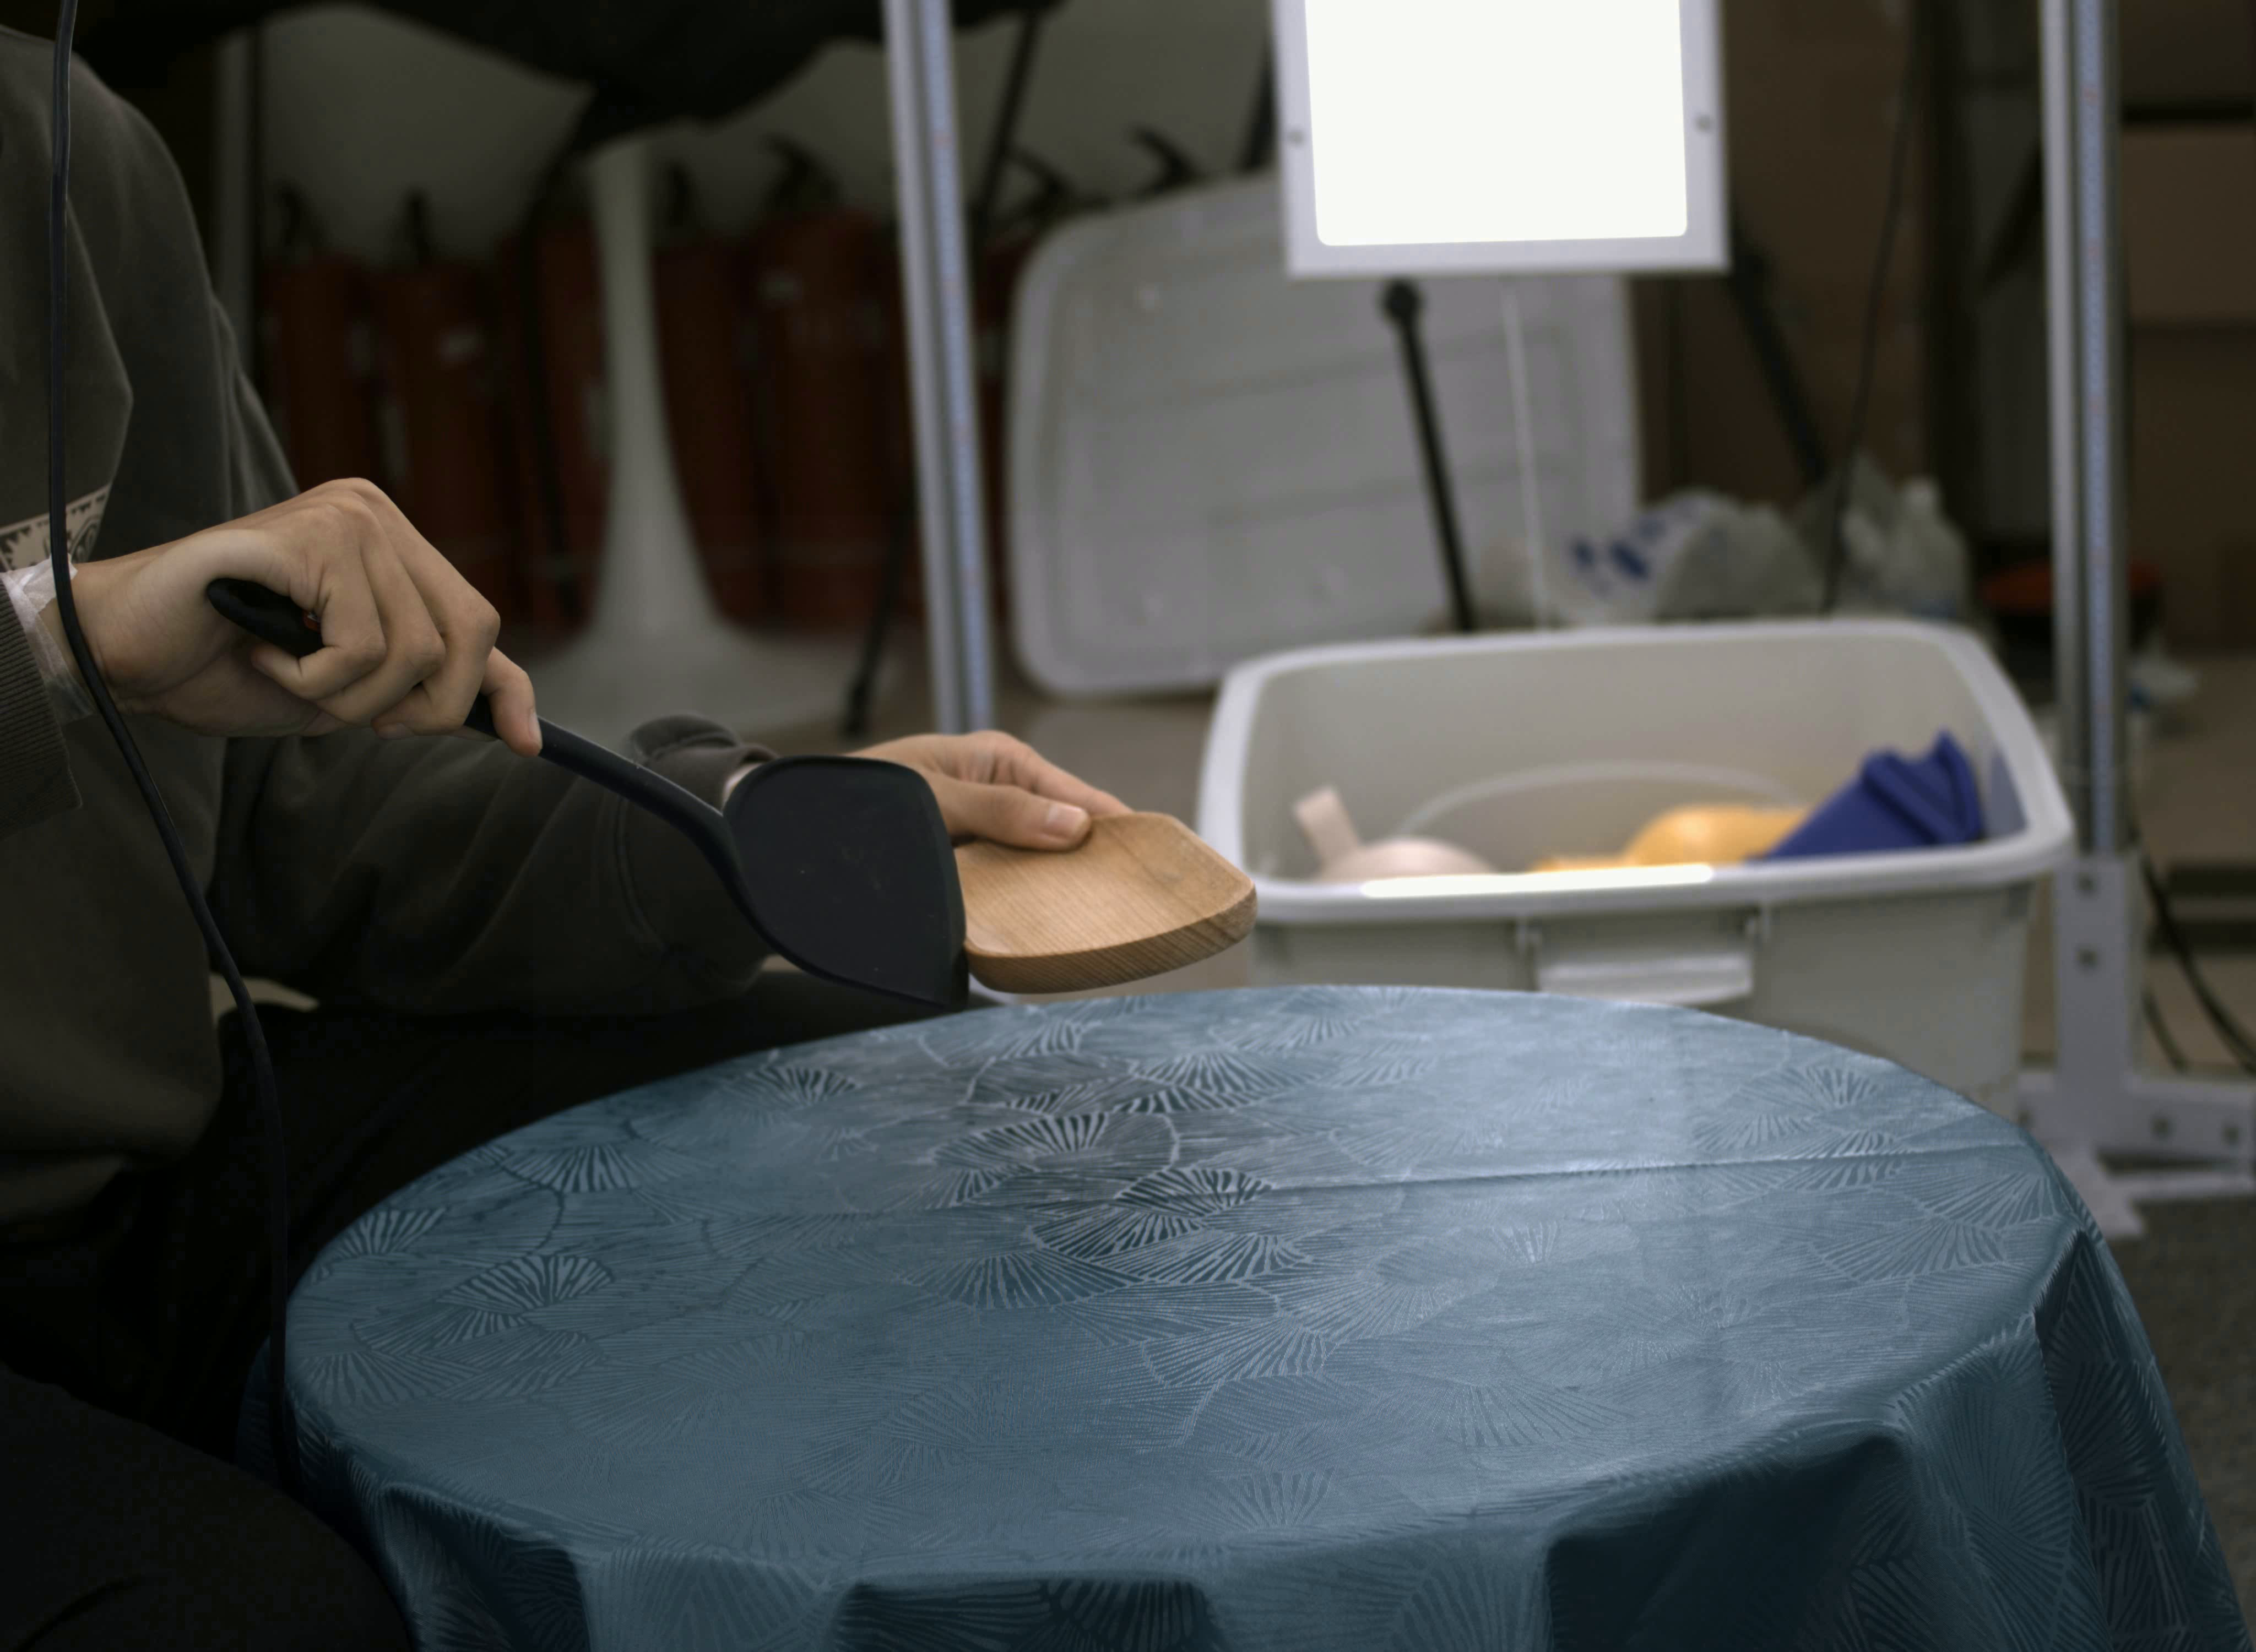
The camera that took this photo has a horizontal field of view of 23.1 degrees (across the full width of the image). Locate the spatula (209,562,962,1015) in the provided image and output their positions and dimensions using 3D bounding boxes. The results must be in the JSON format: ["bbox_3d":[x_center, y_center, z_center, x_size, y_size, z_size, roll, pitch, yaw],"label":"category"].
[{"bbox_3d":[-0.167,-0.024,1.751,0.041,0.100,0.320,-28,-36,26],"label":"spatula"}]

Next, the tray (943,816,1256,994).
[{"bbox_3d":[-0.018,0.026,1.912,0.101,0.020,0.232,-15,12,-8],"label":"tray"}]
